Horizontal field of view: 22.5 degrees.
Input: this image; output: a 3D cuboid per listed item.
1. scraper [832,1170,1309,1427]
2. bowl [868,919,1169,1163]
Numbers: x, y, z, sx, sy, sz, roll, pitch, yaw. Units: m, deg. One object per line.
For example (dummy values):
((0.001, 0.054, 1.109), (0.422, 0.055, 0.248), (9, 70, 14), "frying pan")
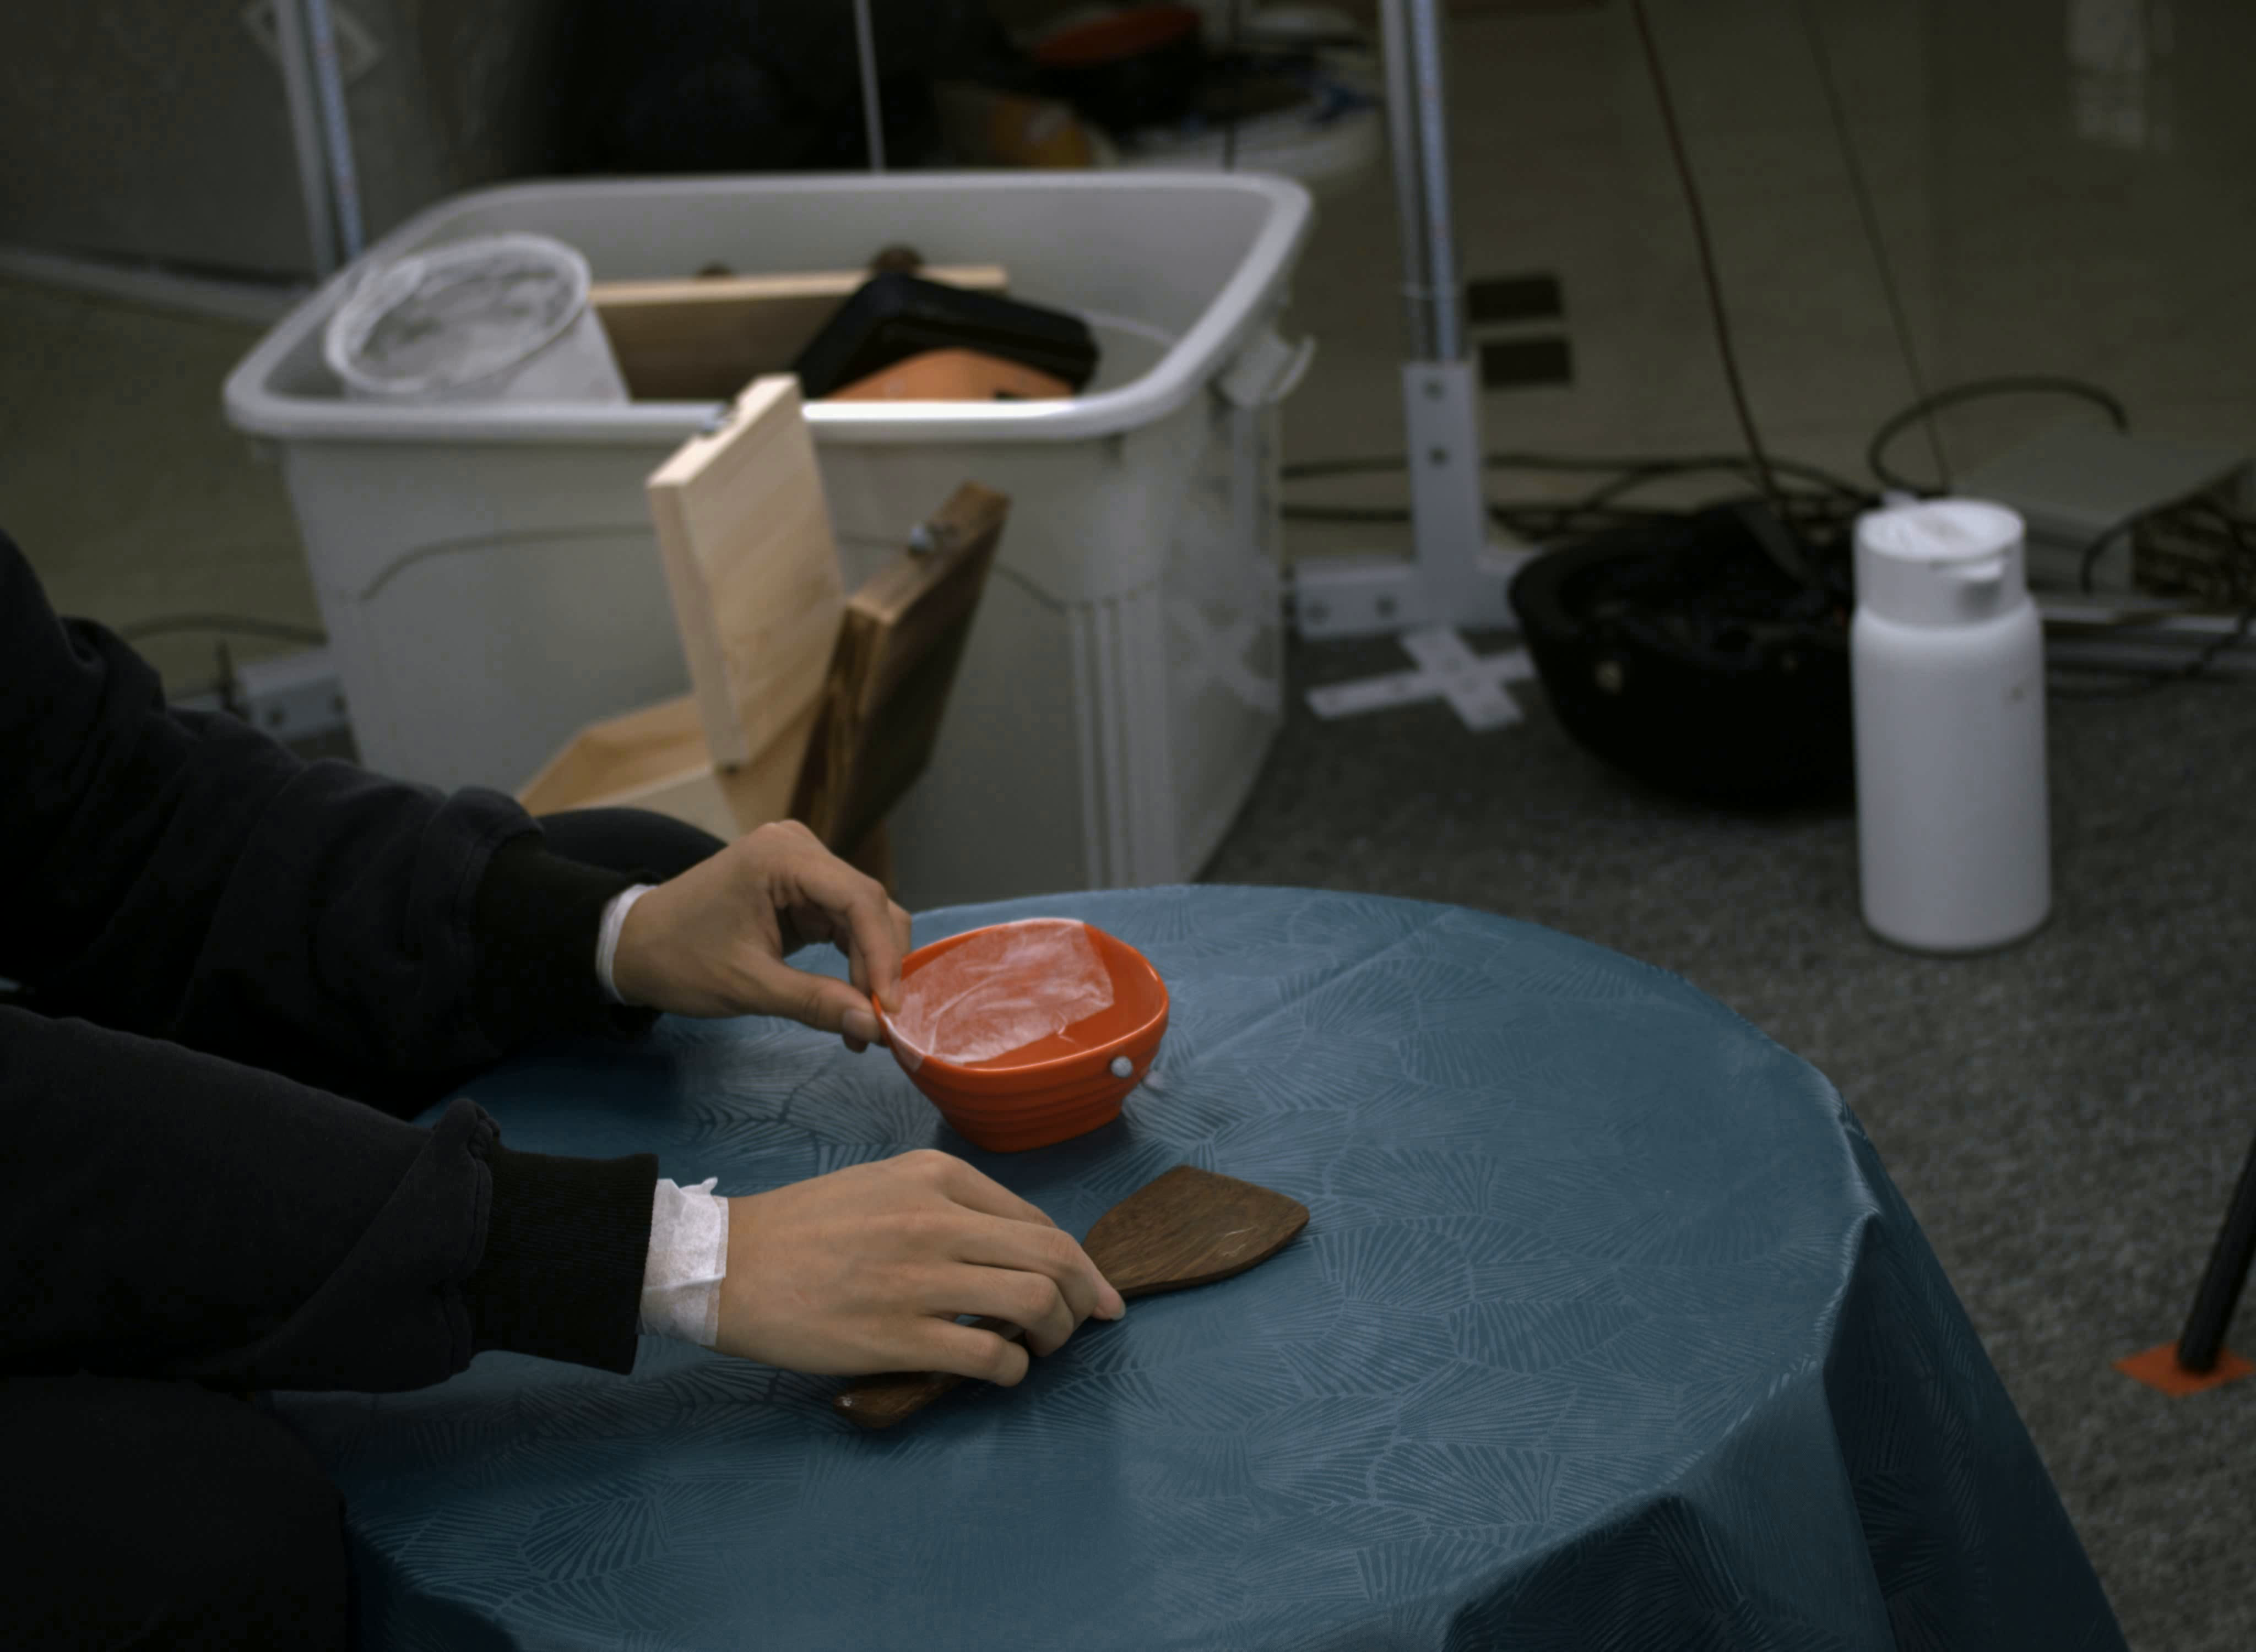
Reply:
((-0.026, 0.174, 2.067), (0.075, 0.011, 0.209), (17, 31, 41), "scraper")
((-0.041, 0.090, 2.211), (0.119, 0.052, 0.117), (-2, 34, 2), "bowl")
